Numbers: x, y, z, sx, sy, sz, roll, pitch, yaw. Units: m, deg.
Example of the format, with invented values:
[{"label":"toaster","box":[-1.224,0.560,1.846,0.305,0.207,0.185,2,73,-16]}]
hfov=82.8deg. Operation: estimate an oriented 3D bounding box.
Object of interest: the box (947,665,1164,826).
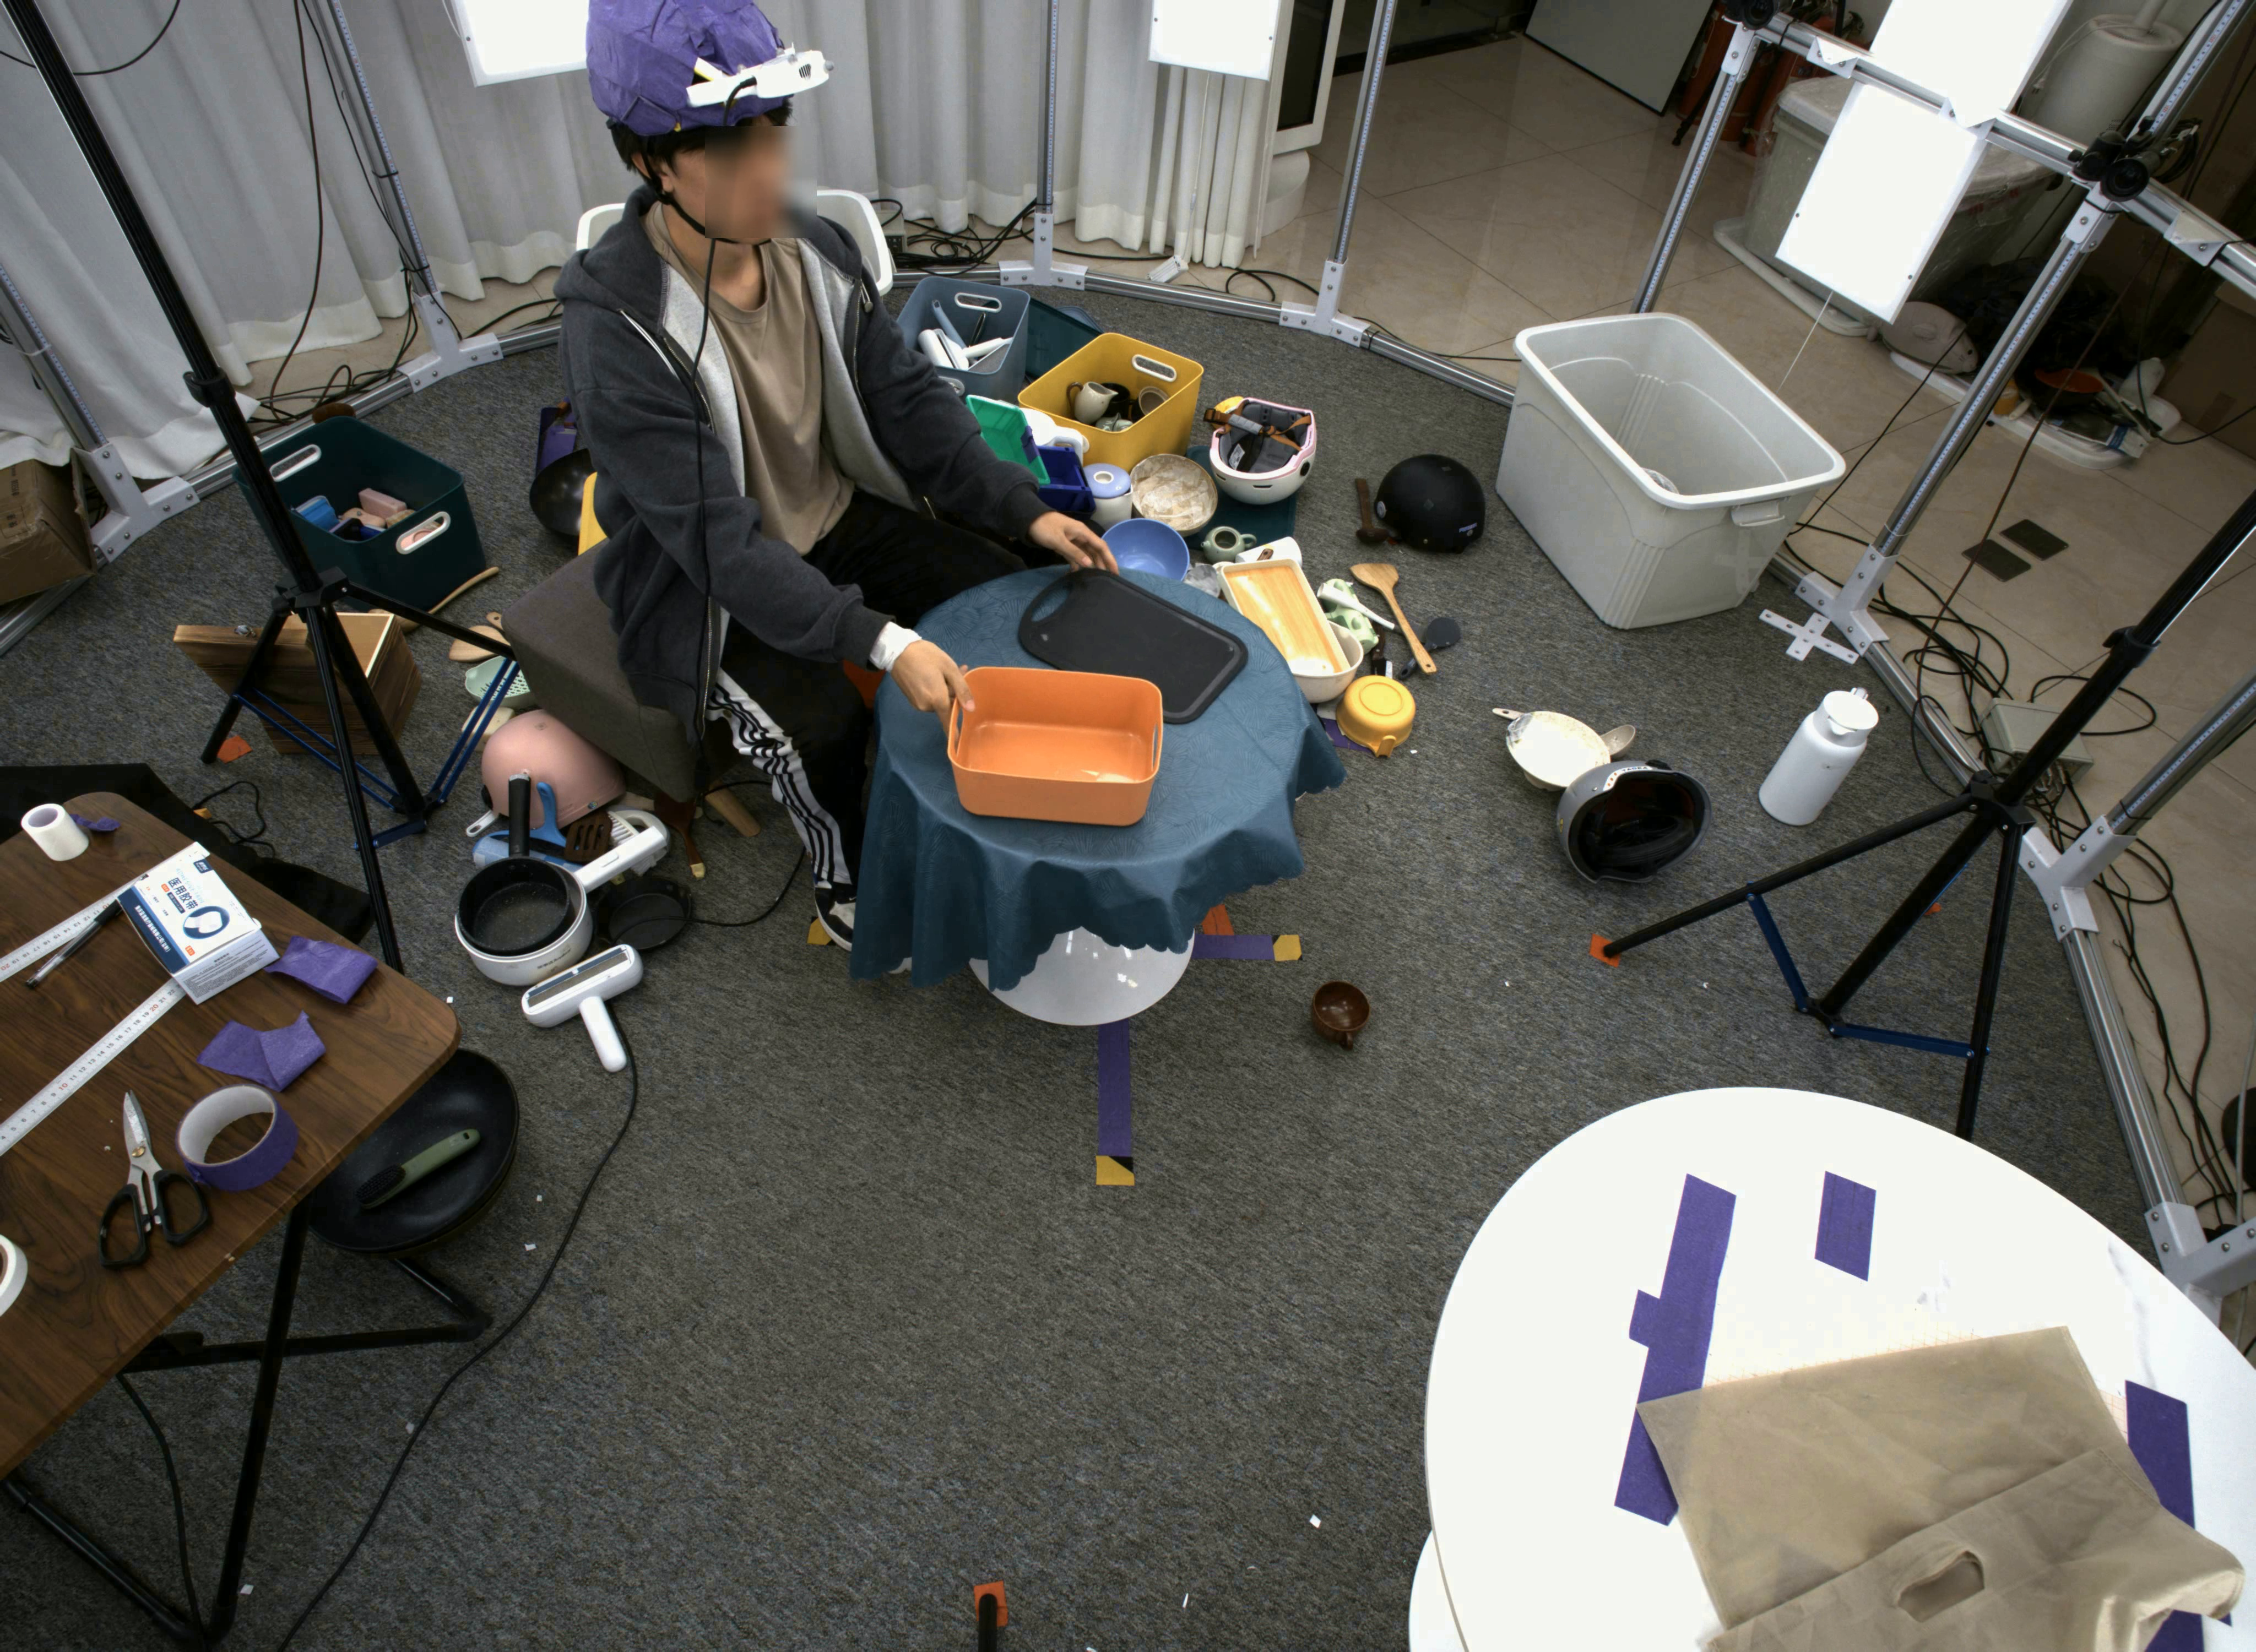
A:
[{"label":"box","box":[-0.093,-0.103,1.681,0.273,0.100,0.204,4,49,-1]}]

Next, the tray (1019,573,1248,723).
[{"label":"tray","box":[0.001,-0.272,1.892,0.328,0.009,0.214,29,55,18]}]
